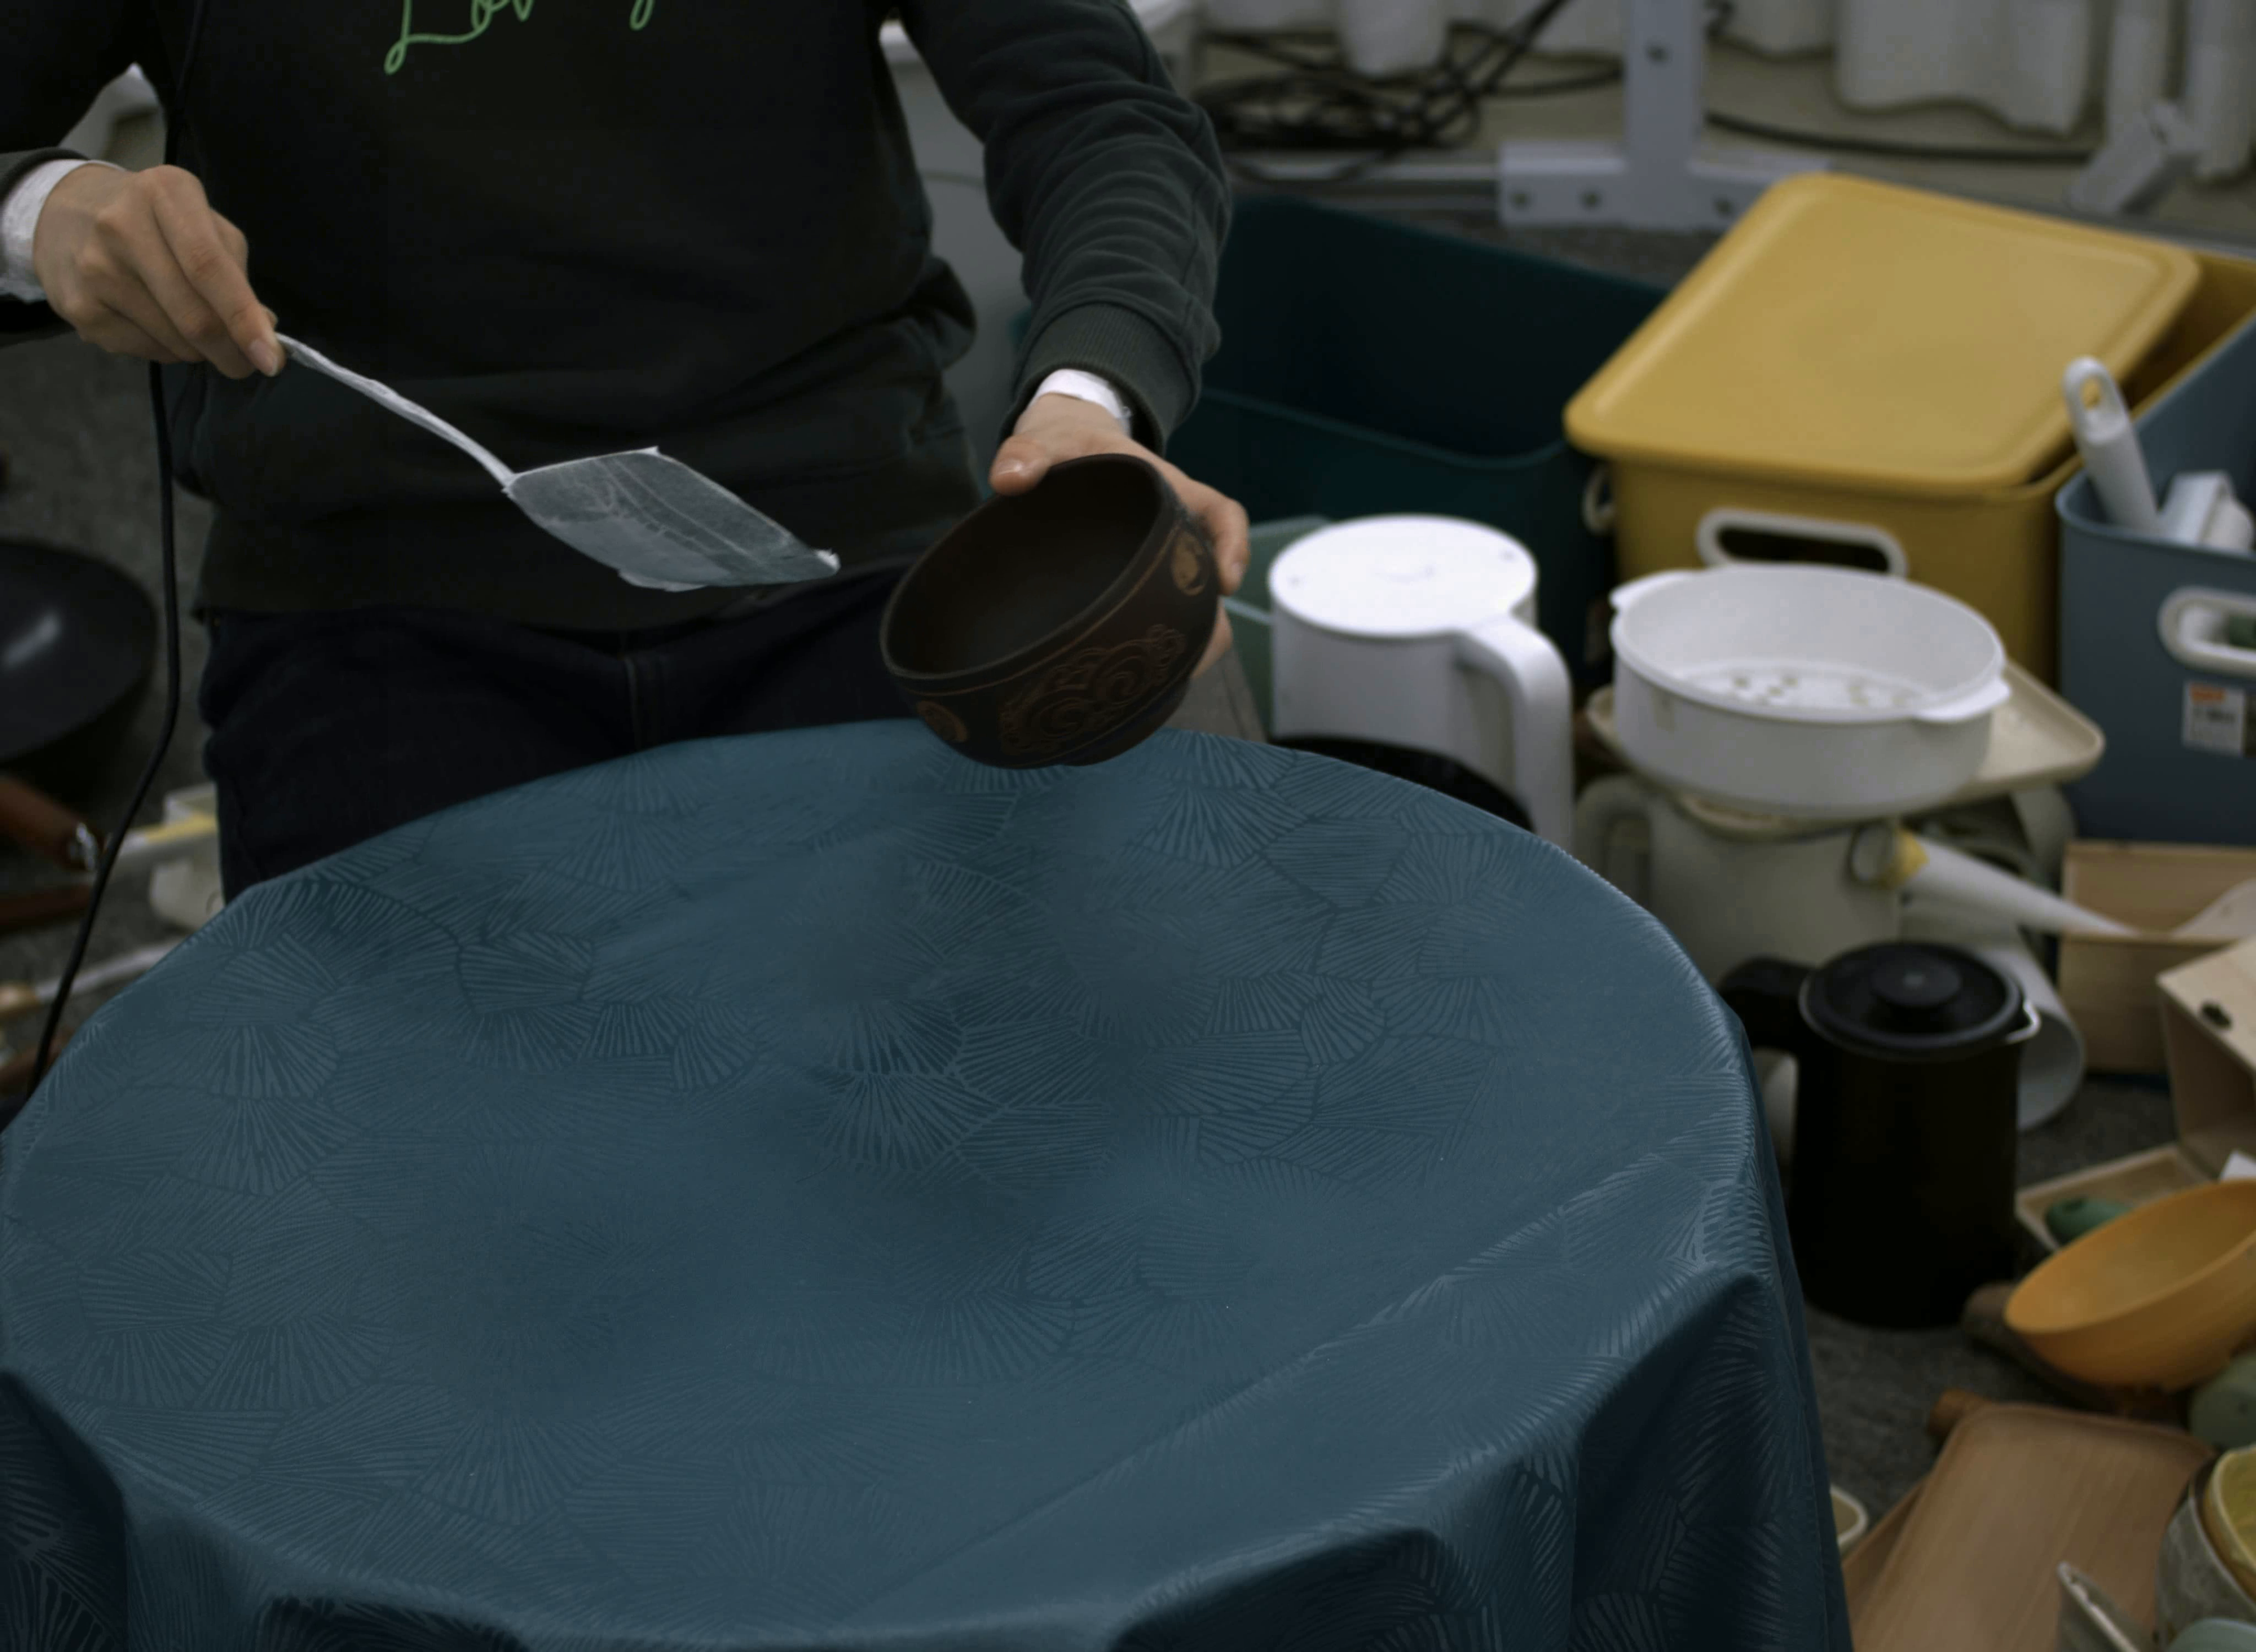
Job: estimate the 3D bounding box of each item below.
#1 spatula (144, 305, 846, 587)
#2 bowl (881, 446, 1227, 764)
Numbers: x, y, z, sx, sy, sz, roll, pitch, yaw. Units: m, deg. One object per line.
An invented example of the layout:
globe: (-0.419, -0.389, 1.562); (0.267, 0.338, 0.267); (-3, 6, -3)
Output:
spatula: (-0.236, -0.141, 1.921); (0.365, 0.045, 0.098); (28, -3, 44)
bowl: (-0.018, -0.066, 1.918); (0.117, 0.069, 0.120); (-24, 29, 15)
